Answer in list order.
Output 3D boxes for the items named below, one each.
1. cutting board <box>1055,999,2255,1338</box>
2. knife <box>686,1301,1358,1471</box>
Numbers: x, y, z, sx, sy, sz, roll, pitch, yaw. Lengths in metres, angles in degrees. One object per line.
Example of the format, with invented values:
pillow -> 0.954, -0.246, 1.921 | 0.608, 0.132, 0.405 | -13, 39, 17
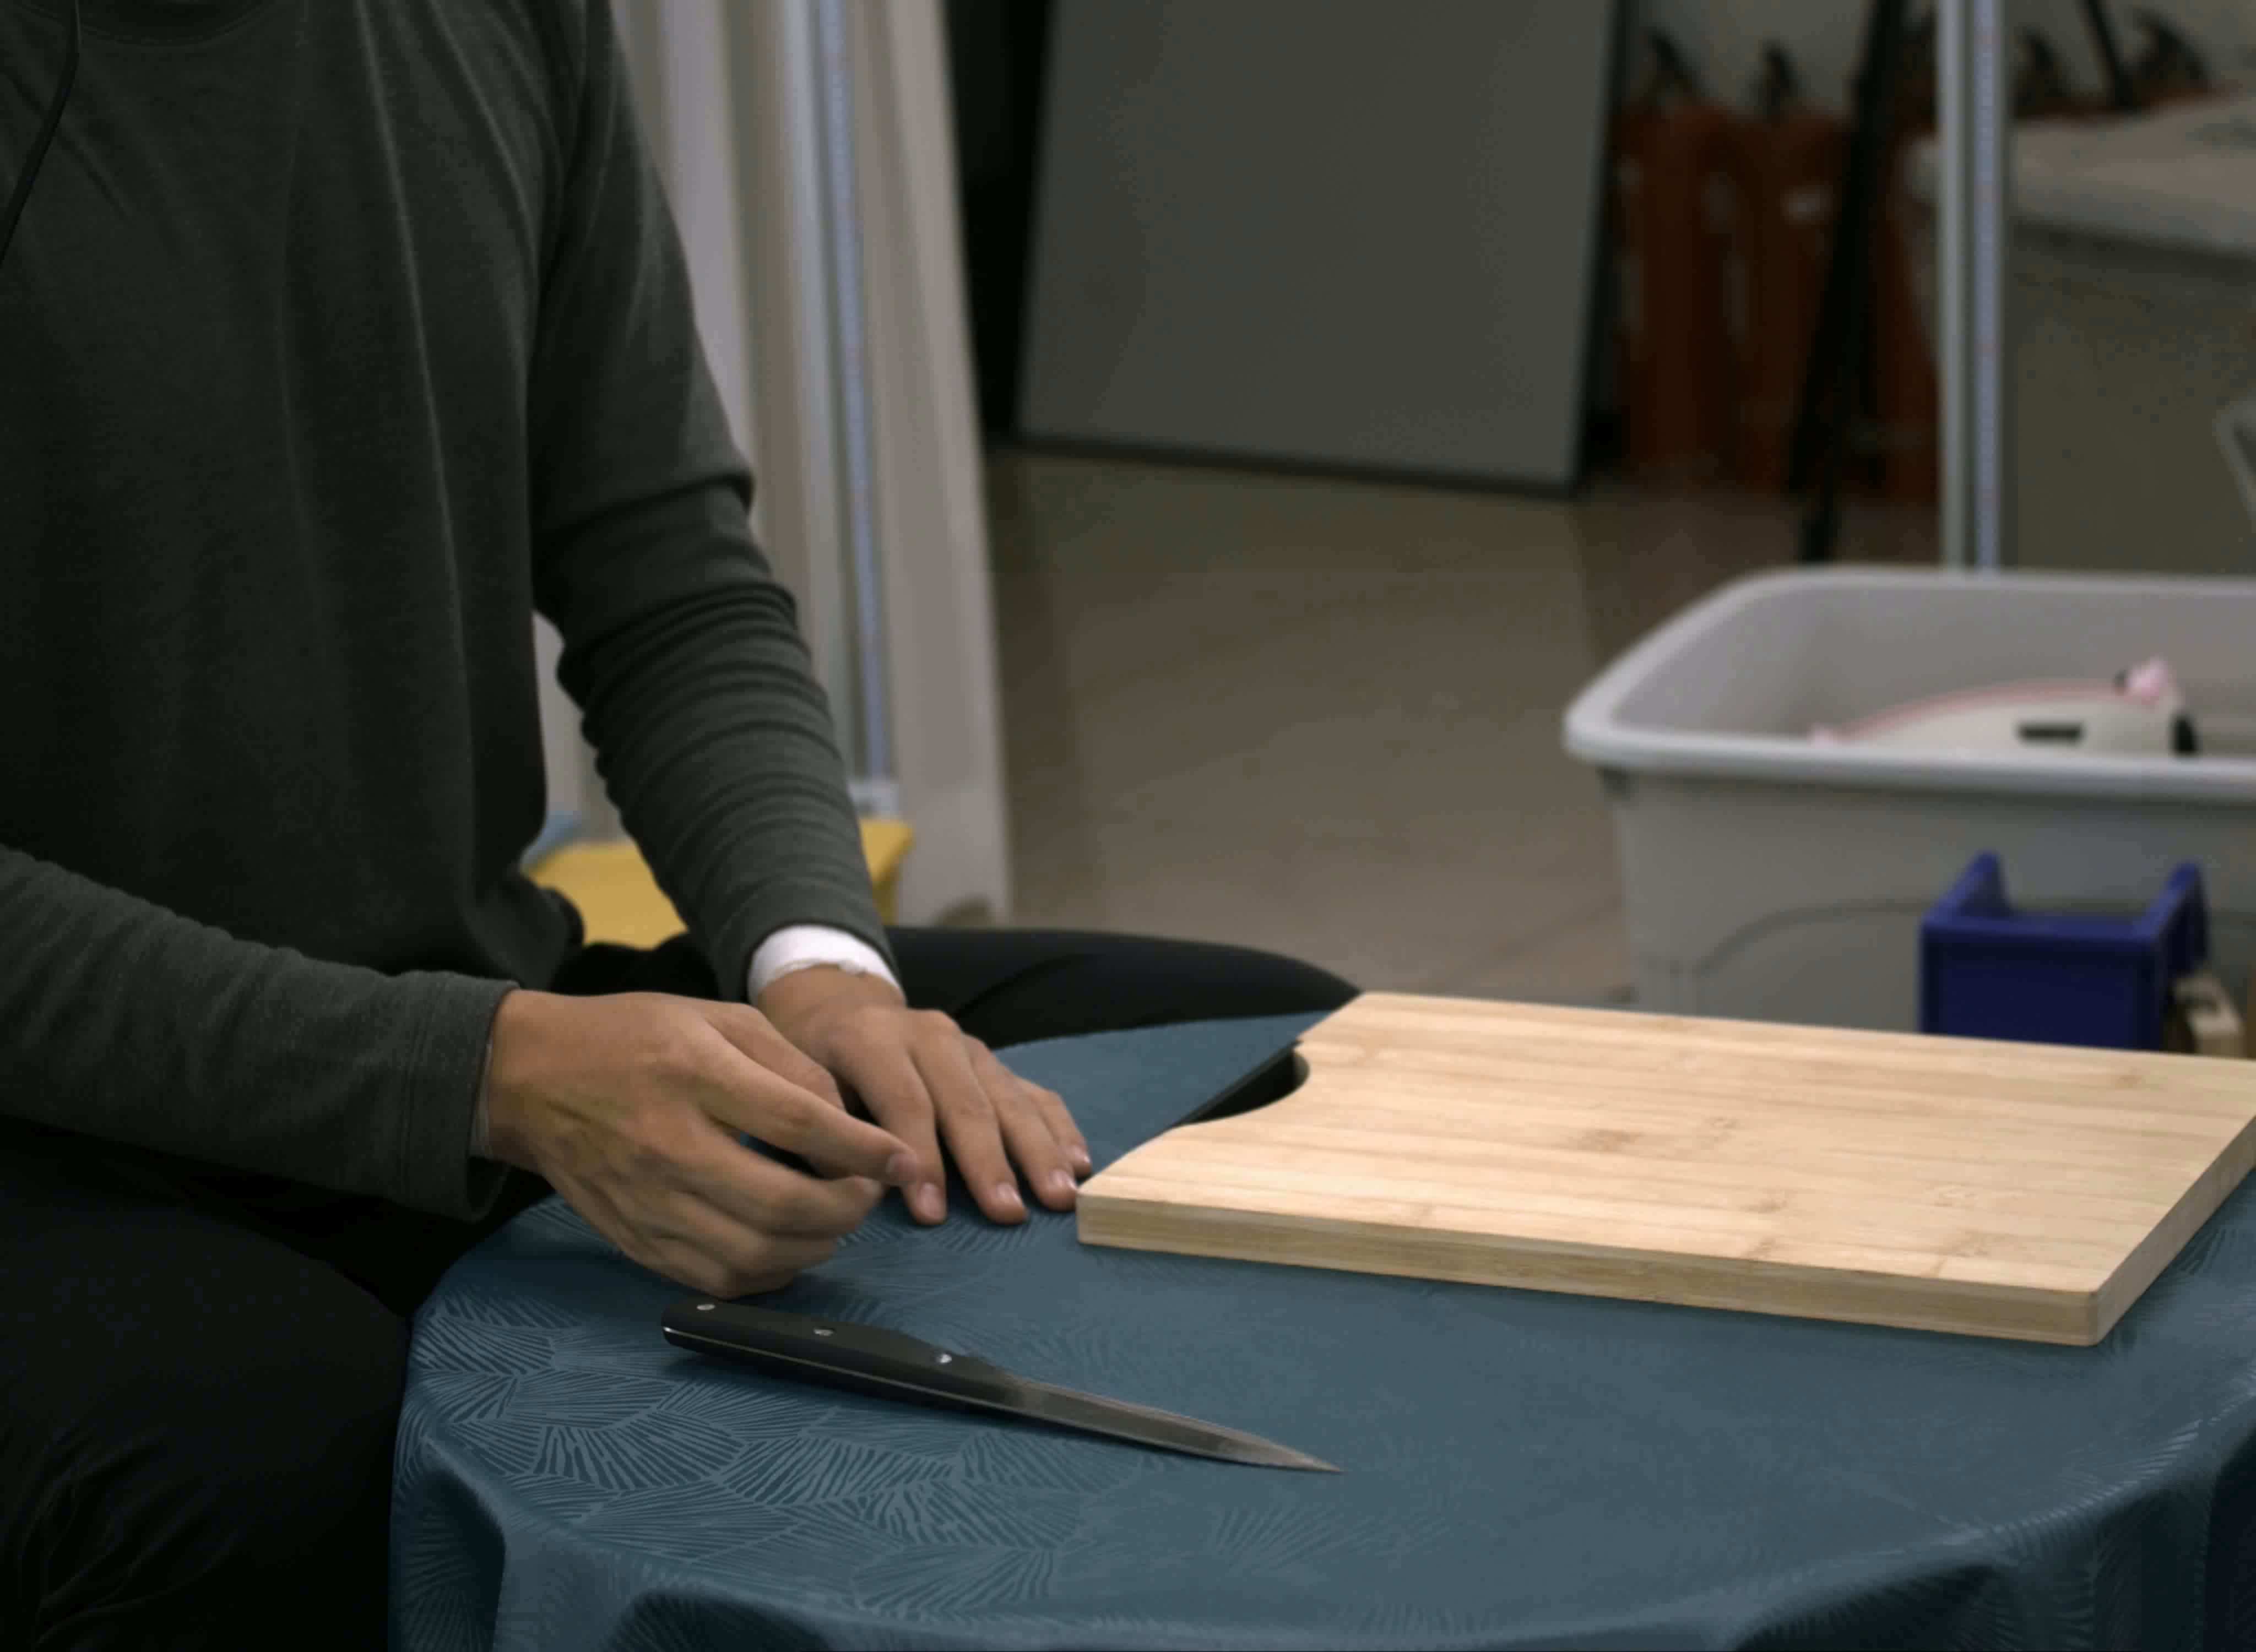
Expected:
cutting board -> 0.180, 0.107, 1.749 | 0.349, 0.024, 0.247 | 3, 15, 27
knife -> -0.036, 0.166, 1.575 | 0.239, 0.016, 0.024 | 8, 24, 33
